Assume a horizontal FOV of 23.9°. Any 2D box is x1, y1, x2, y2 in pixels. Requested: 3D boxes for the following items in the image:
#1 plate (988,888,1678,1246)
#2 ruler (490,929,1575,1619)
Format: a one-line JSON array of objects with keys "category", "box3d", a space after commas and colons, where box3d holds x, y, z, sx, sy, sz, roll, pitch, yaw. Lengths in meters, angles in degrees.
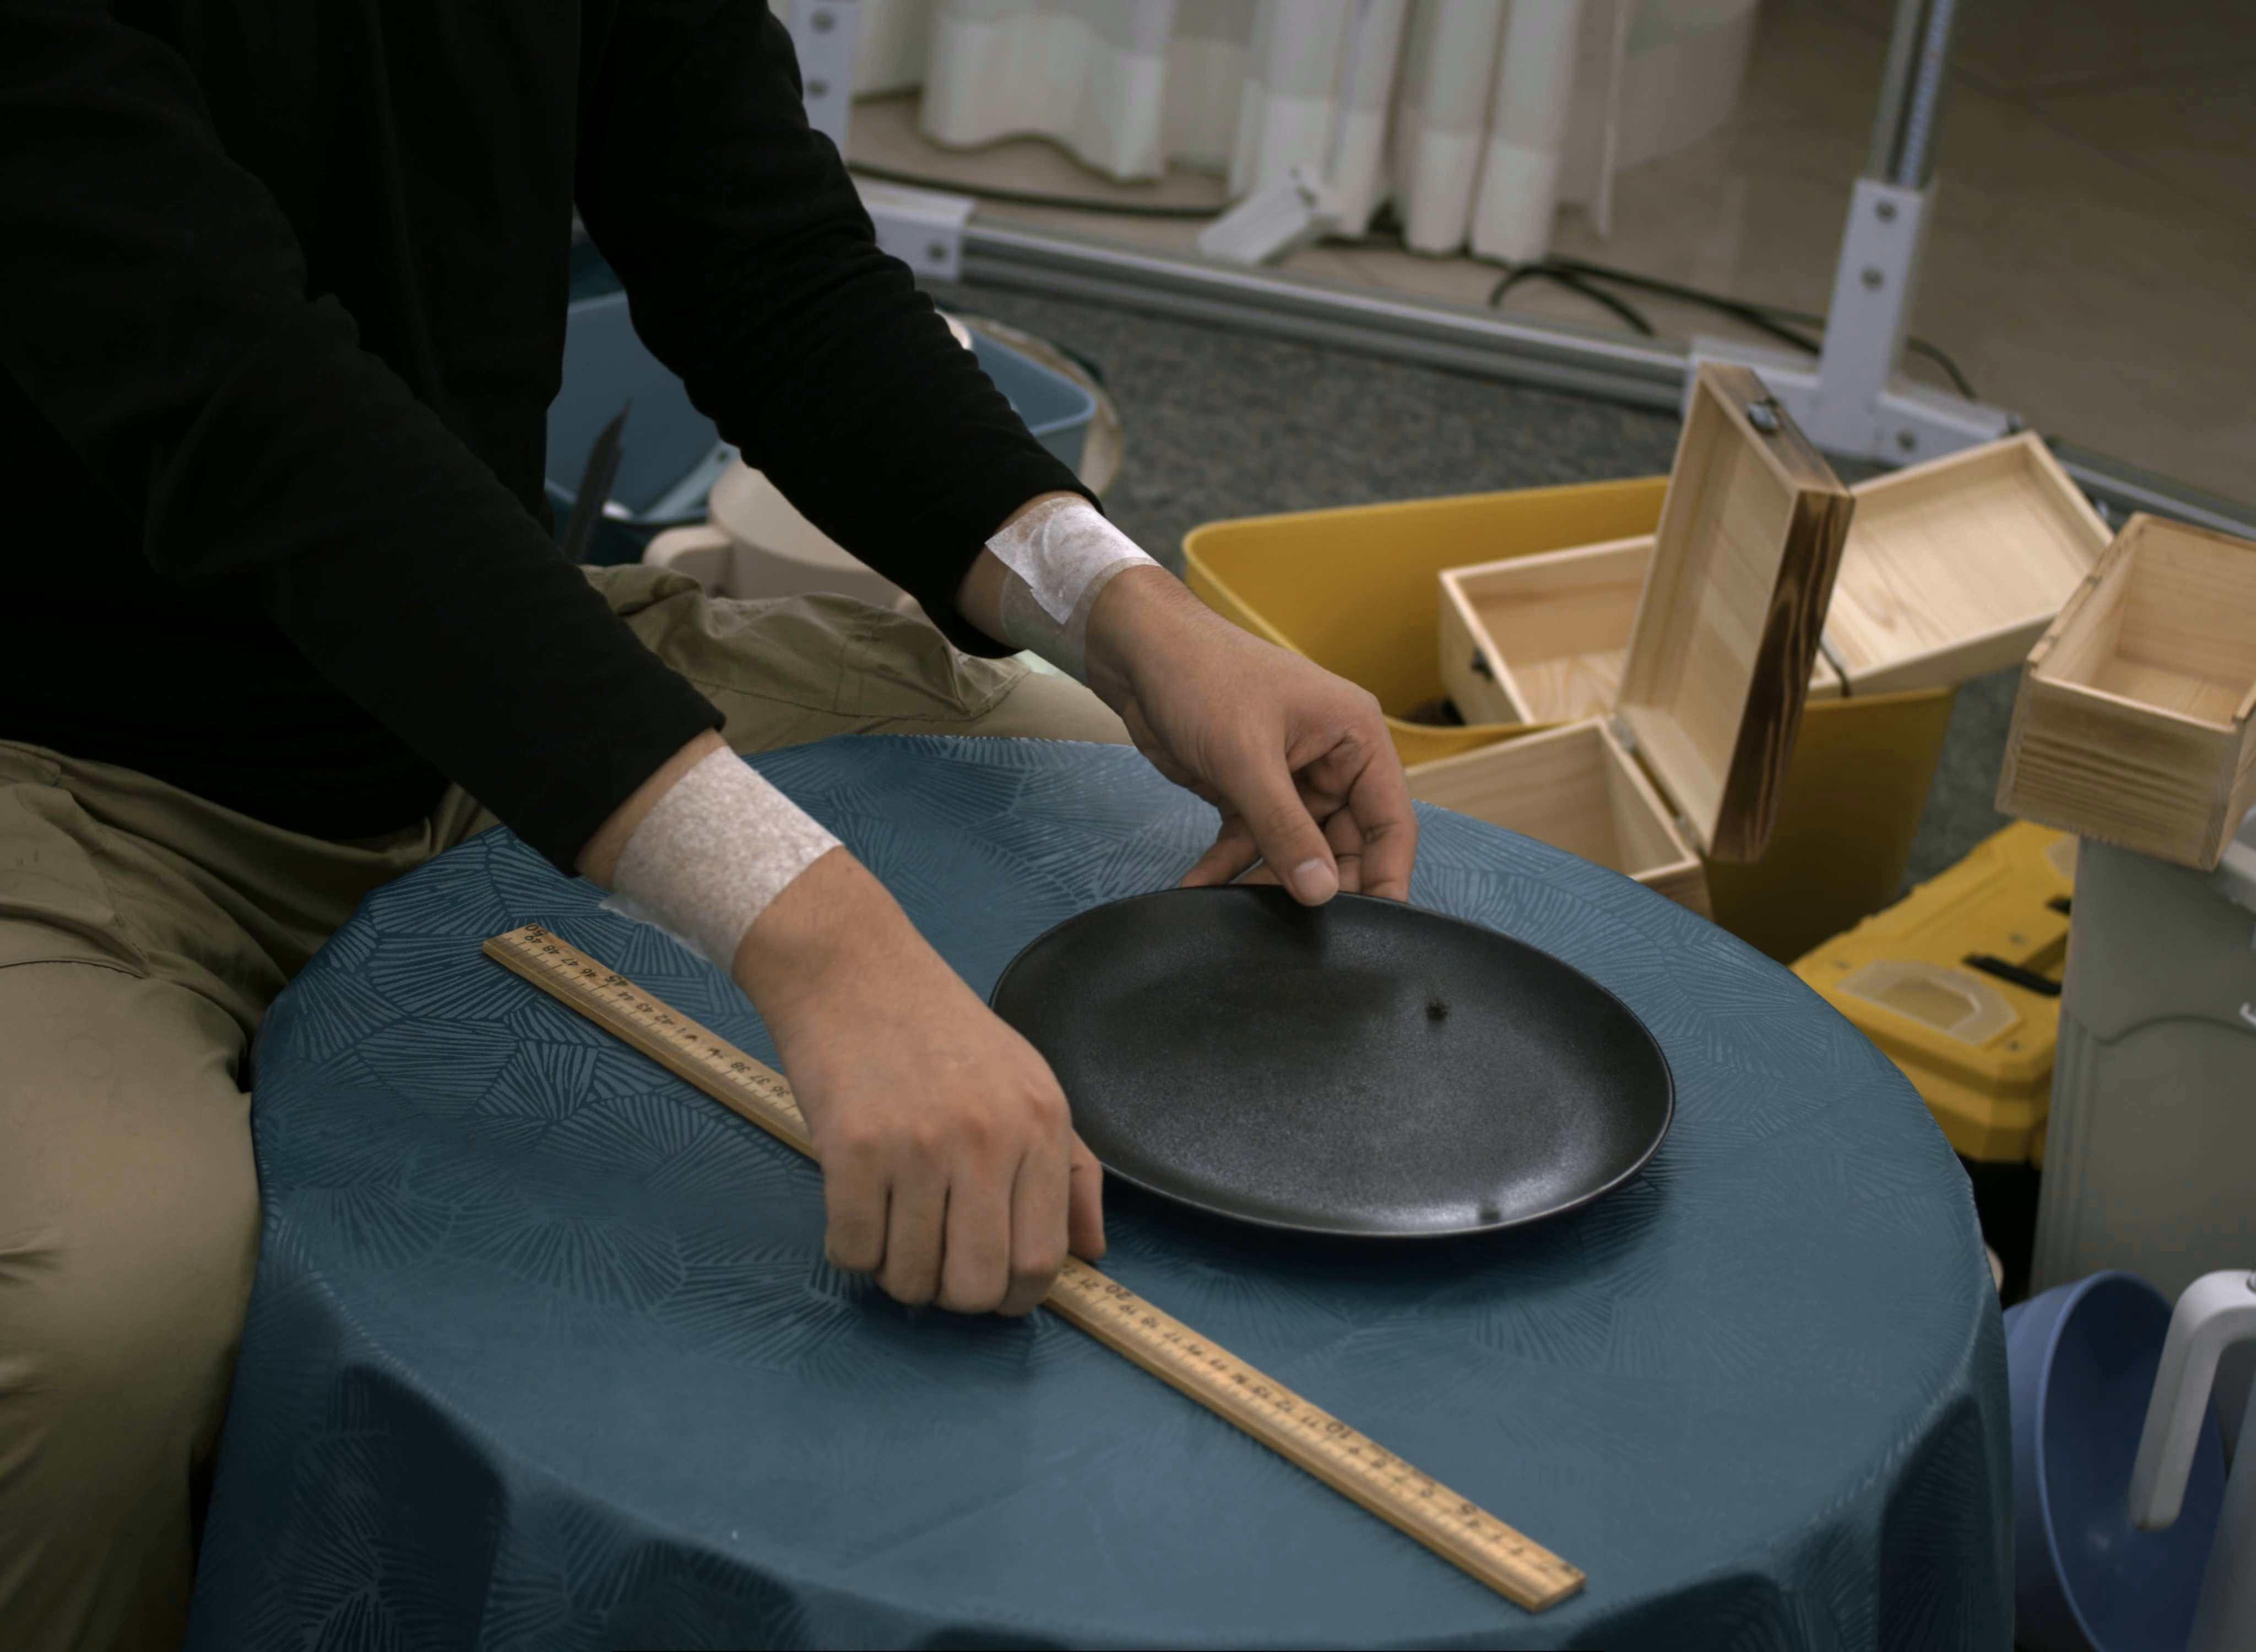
[{"category": "plate", "box3d": [0.071, 0.087, 1.862, 0.243, 0.023, 0.246, 5, 27, -3]}, {"category": "ruler", "box3d": [-0.045, 0.138, 1.759, 0.026, 0.006, 0.504, -15, 33, -43]}]
